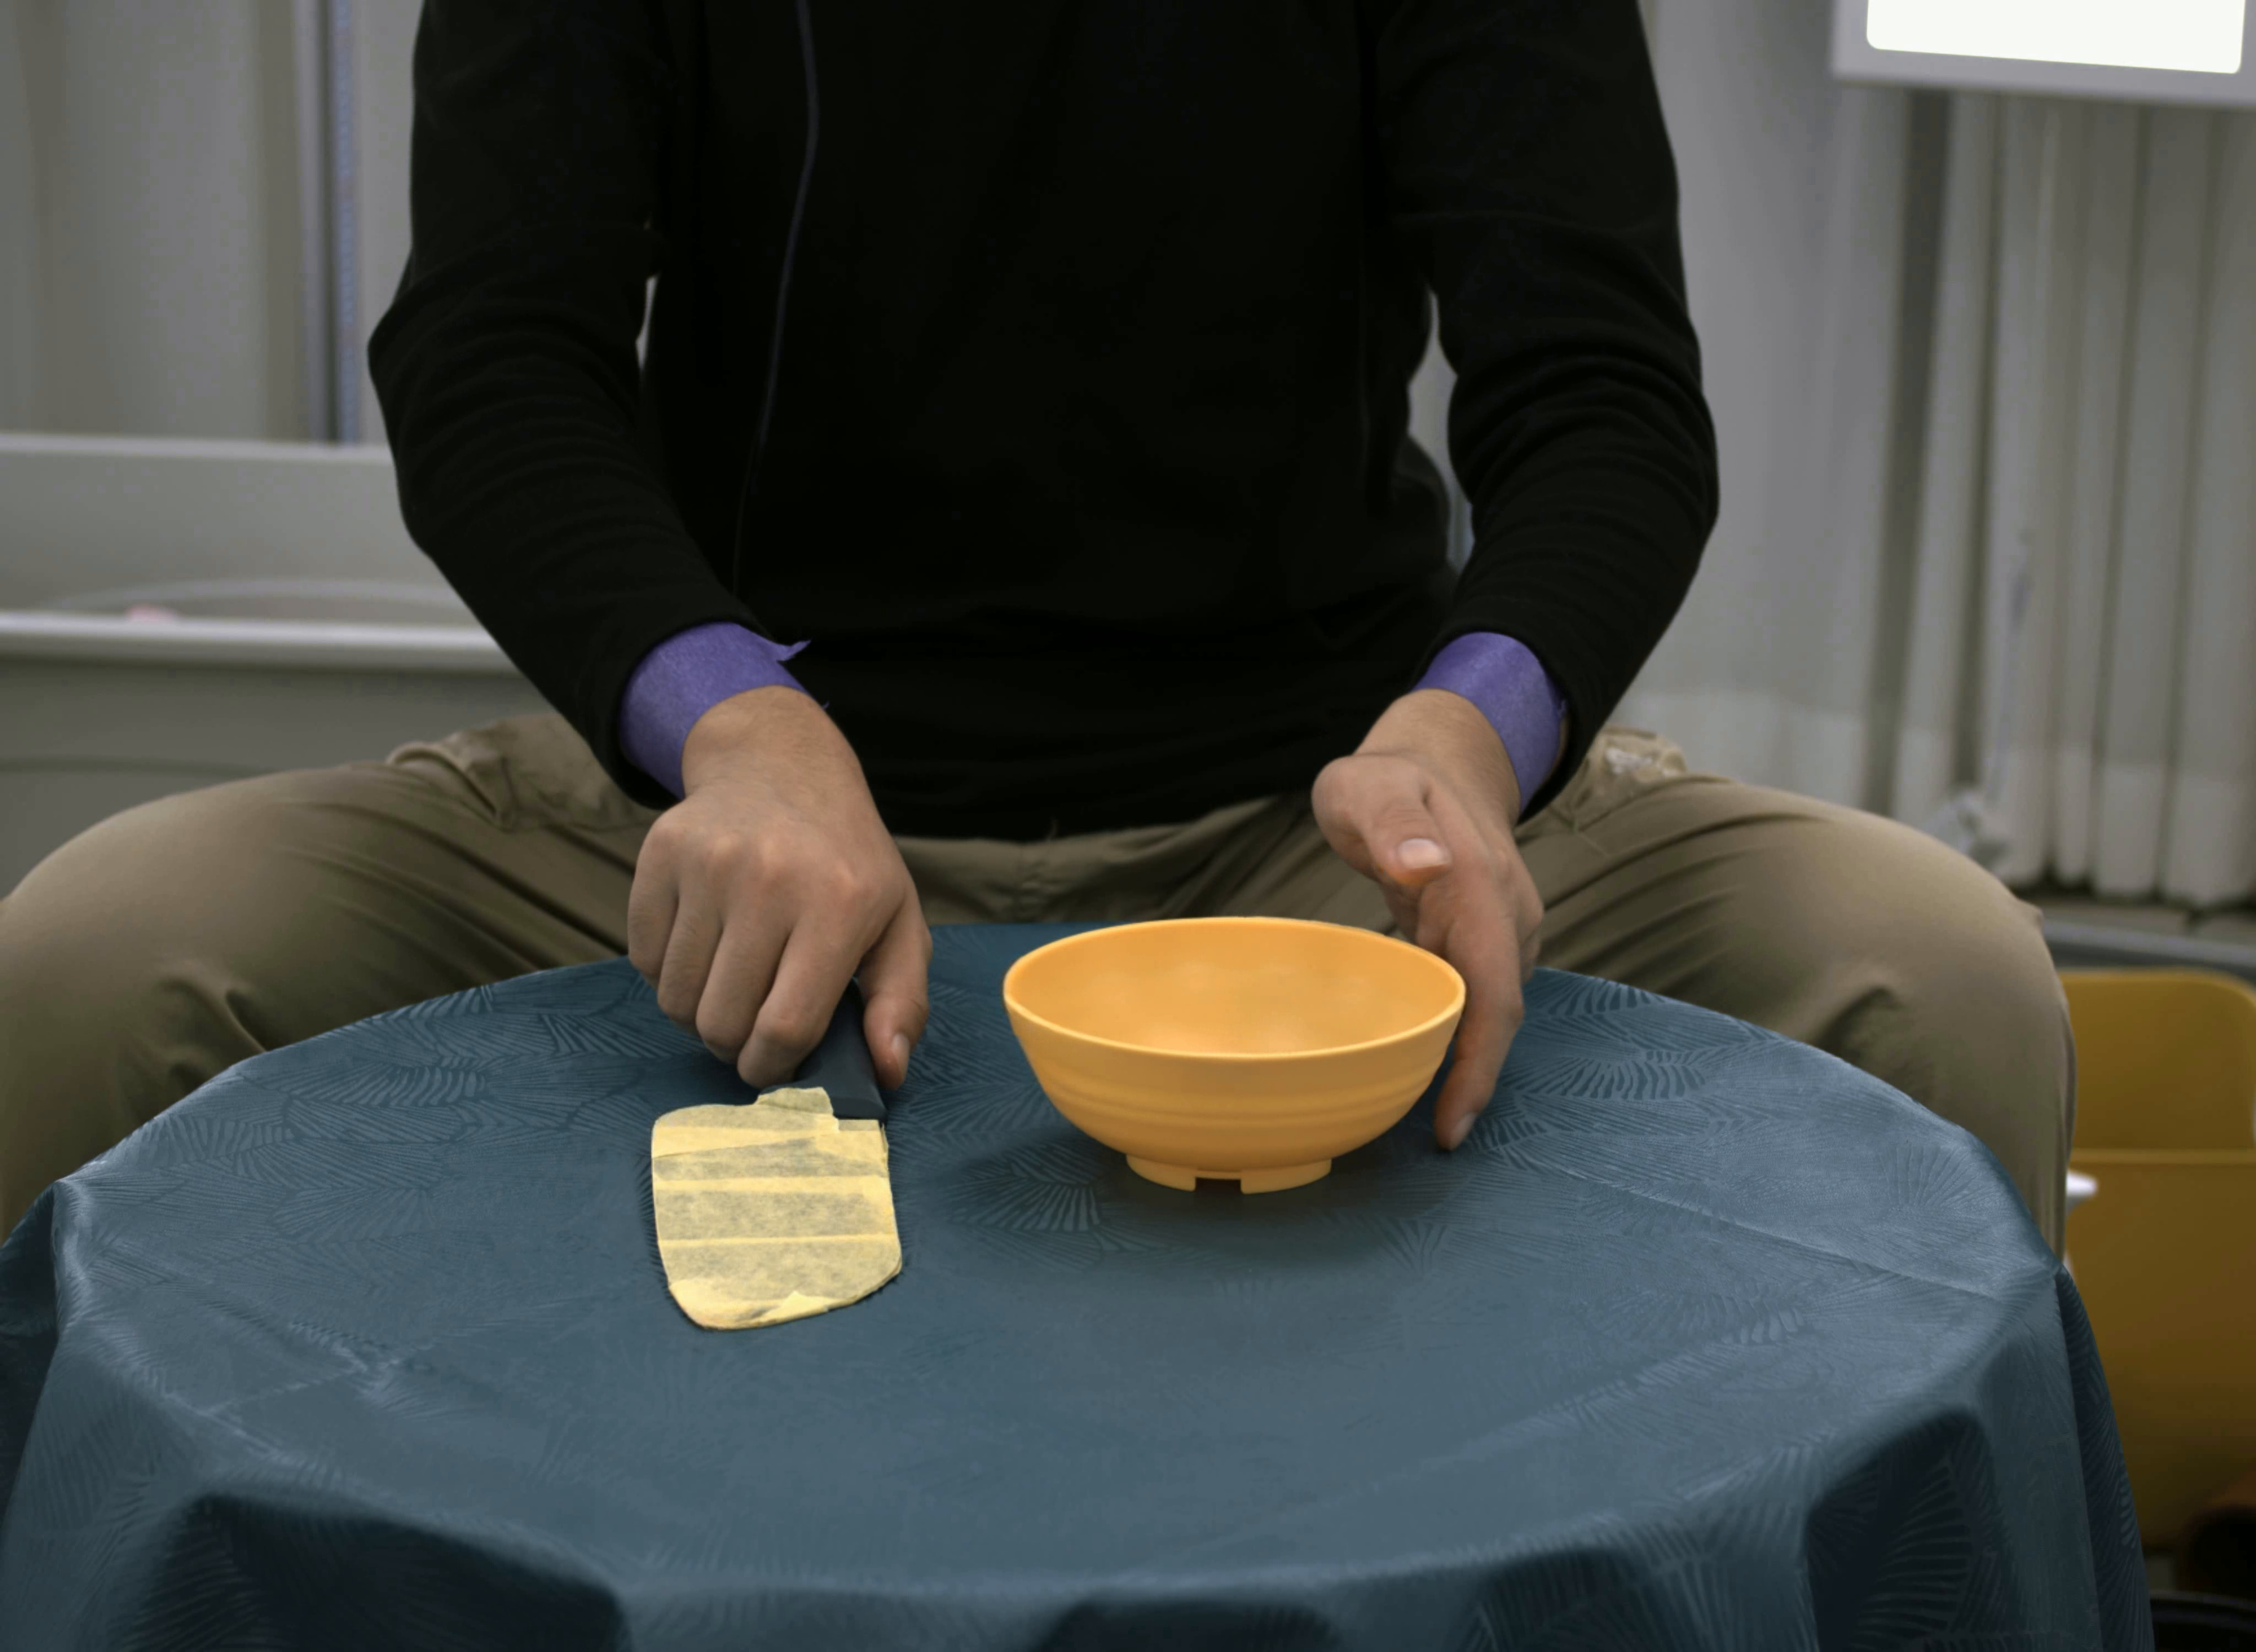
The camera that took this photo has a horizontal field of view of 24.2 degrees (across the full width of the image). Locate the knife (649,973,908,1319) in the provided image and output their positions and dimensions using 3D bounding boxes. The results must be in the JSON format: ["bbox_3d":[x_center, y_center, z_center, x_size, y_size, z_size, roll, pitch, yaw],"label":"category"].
[{"bbox_3d":[-0.109,0.099,1.641,0.081,0.027,0.287,3,17,-4],"label":"knife"}]

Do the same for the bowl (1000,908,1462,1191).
[{"bbox_3d":[0.031,0.075,1.645,0.145,0.060,0.144,2,17,0],"label":"bowl"}]
